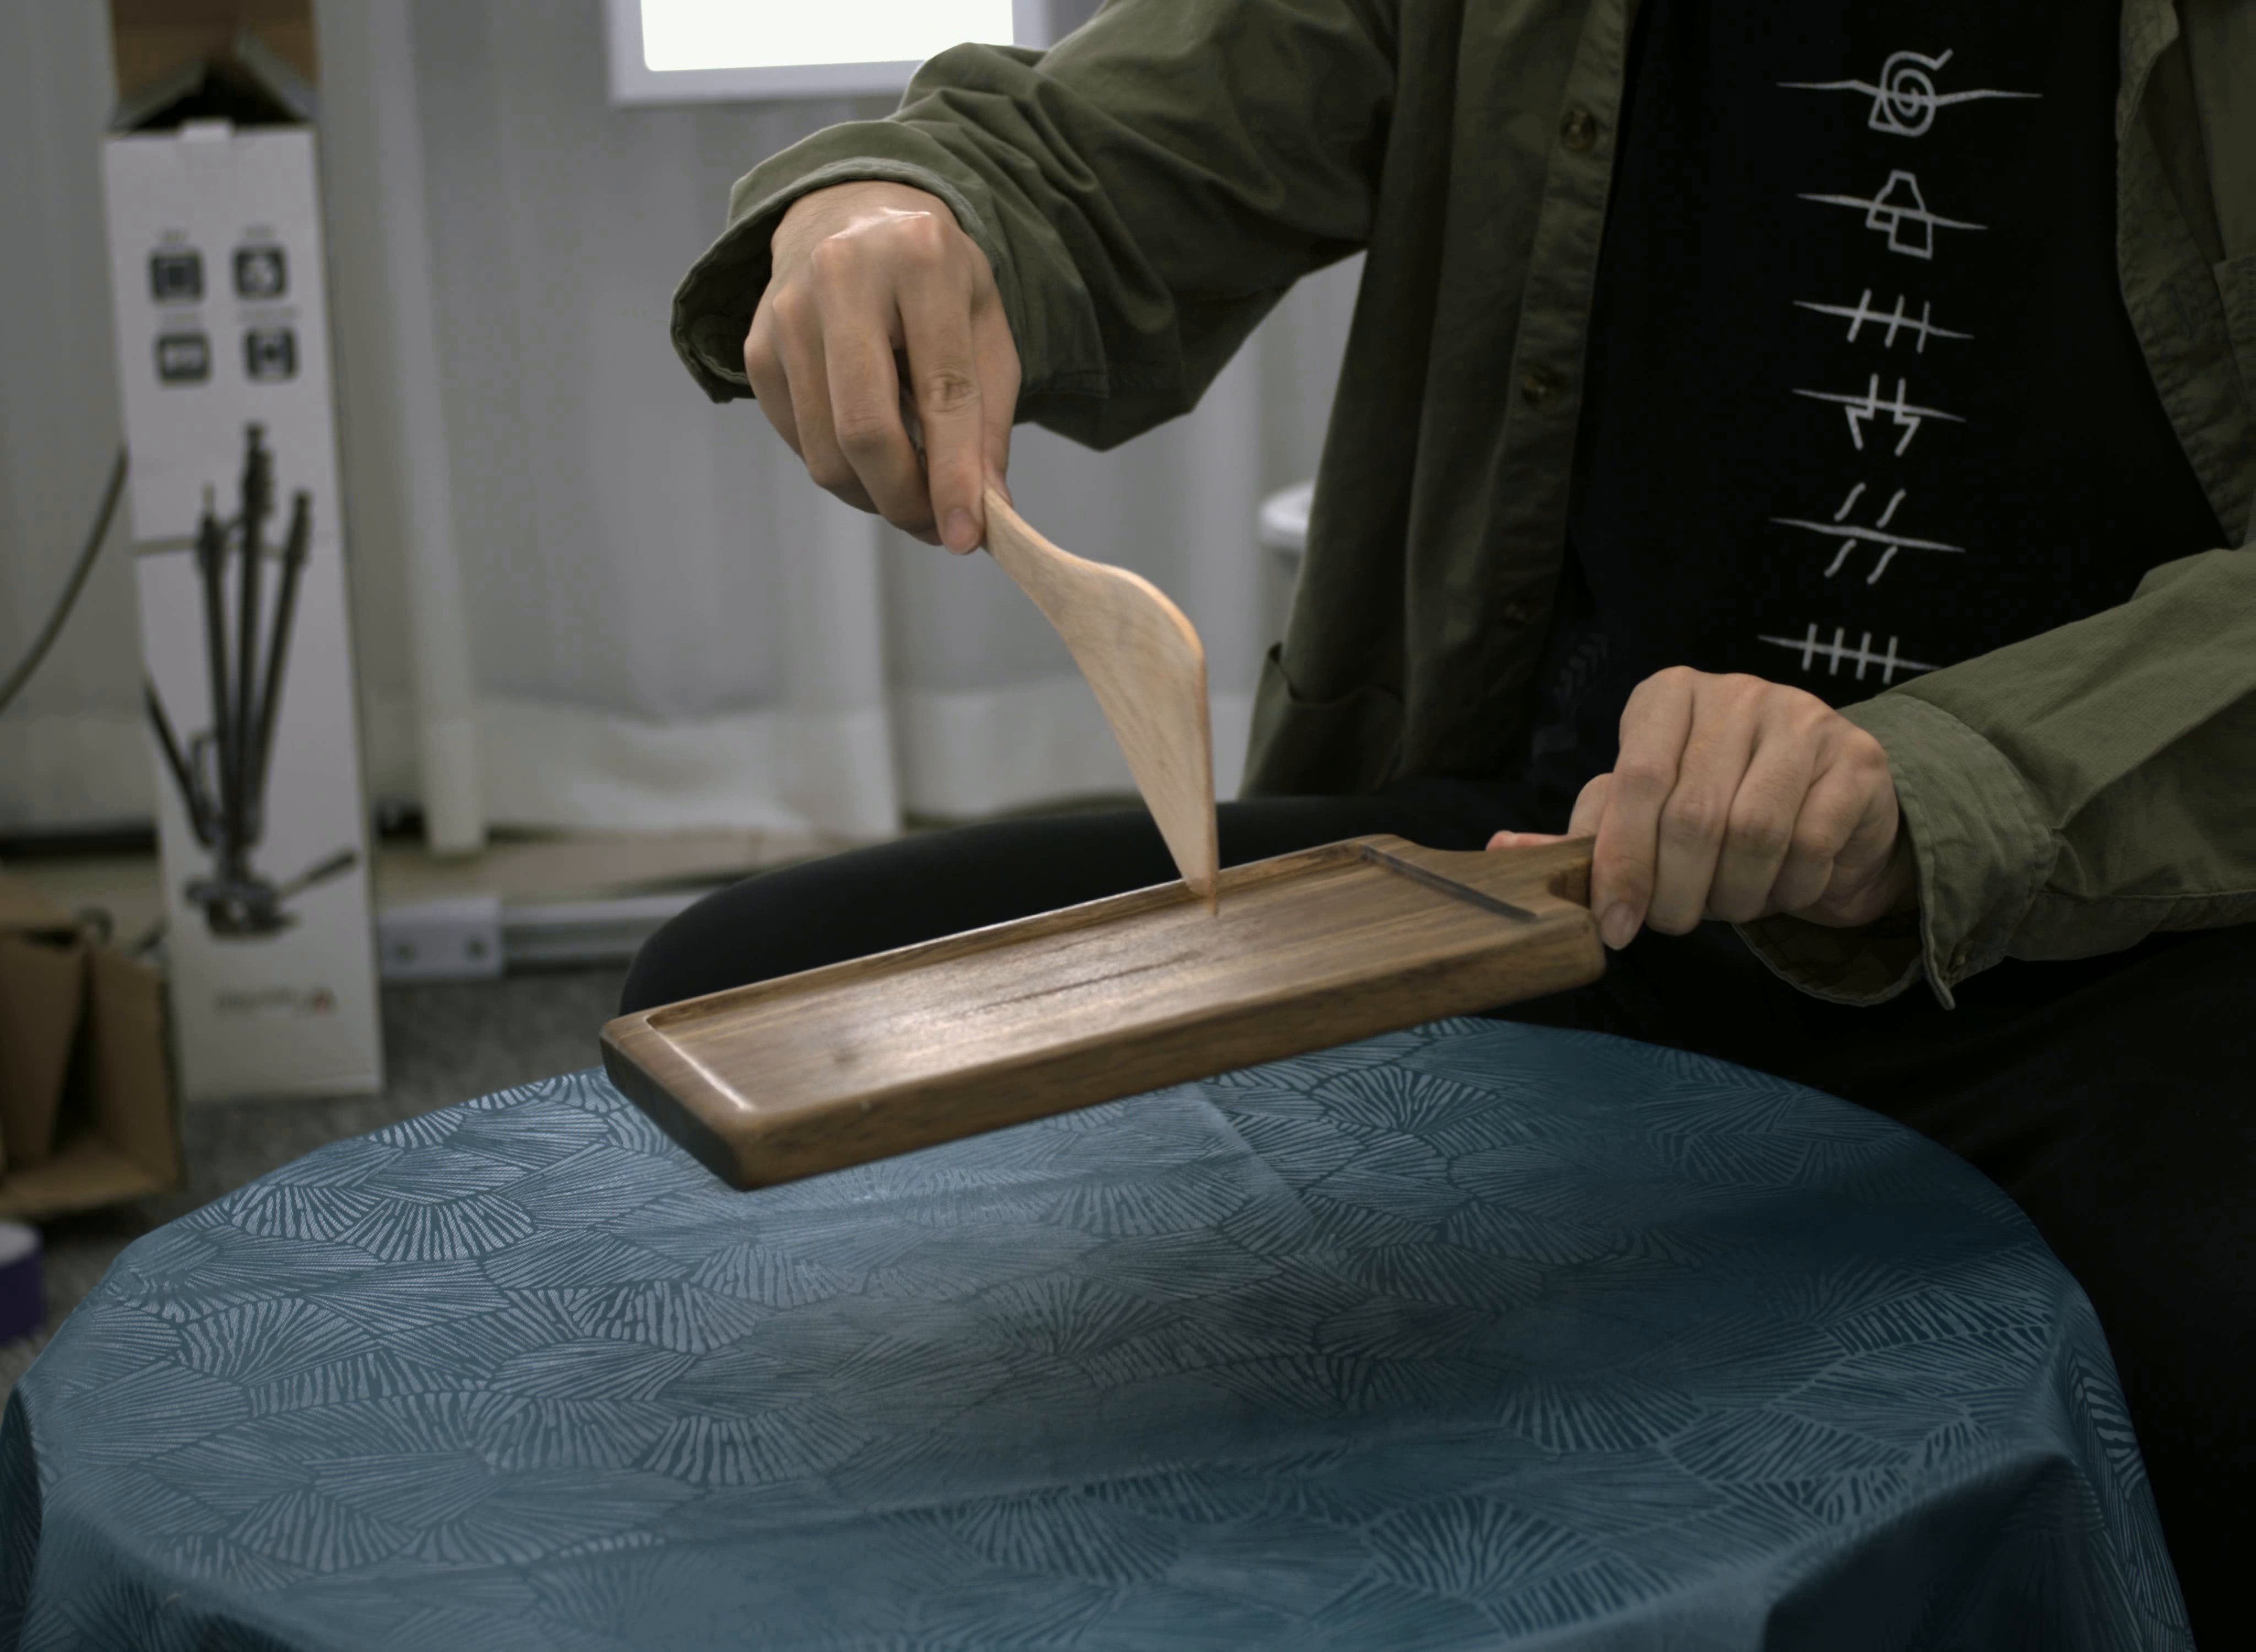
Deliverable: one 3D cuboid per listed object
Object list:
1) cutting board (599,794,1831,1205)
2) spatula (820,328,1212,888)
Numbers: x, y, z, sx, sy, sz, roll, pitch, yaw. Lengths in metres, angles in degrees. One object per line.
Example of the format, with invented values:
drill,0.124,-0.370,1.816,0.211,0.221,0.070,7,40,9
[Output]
cutting board,0.035,0.041,1.545,0.351,0.023,0.202,-13,10,-12
spatula,-0.036,-0.083,1.613,0.016,0.079,0.331,-12,29,-20
